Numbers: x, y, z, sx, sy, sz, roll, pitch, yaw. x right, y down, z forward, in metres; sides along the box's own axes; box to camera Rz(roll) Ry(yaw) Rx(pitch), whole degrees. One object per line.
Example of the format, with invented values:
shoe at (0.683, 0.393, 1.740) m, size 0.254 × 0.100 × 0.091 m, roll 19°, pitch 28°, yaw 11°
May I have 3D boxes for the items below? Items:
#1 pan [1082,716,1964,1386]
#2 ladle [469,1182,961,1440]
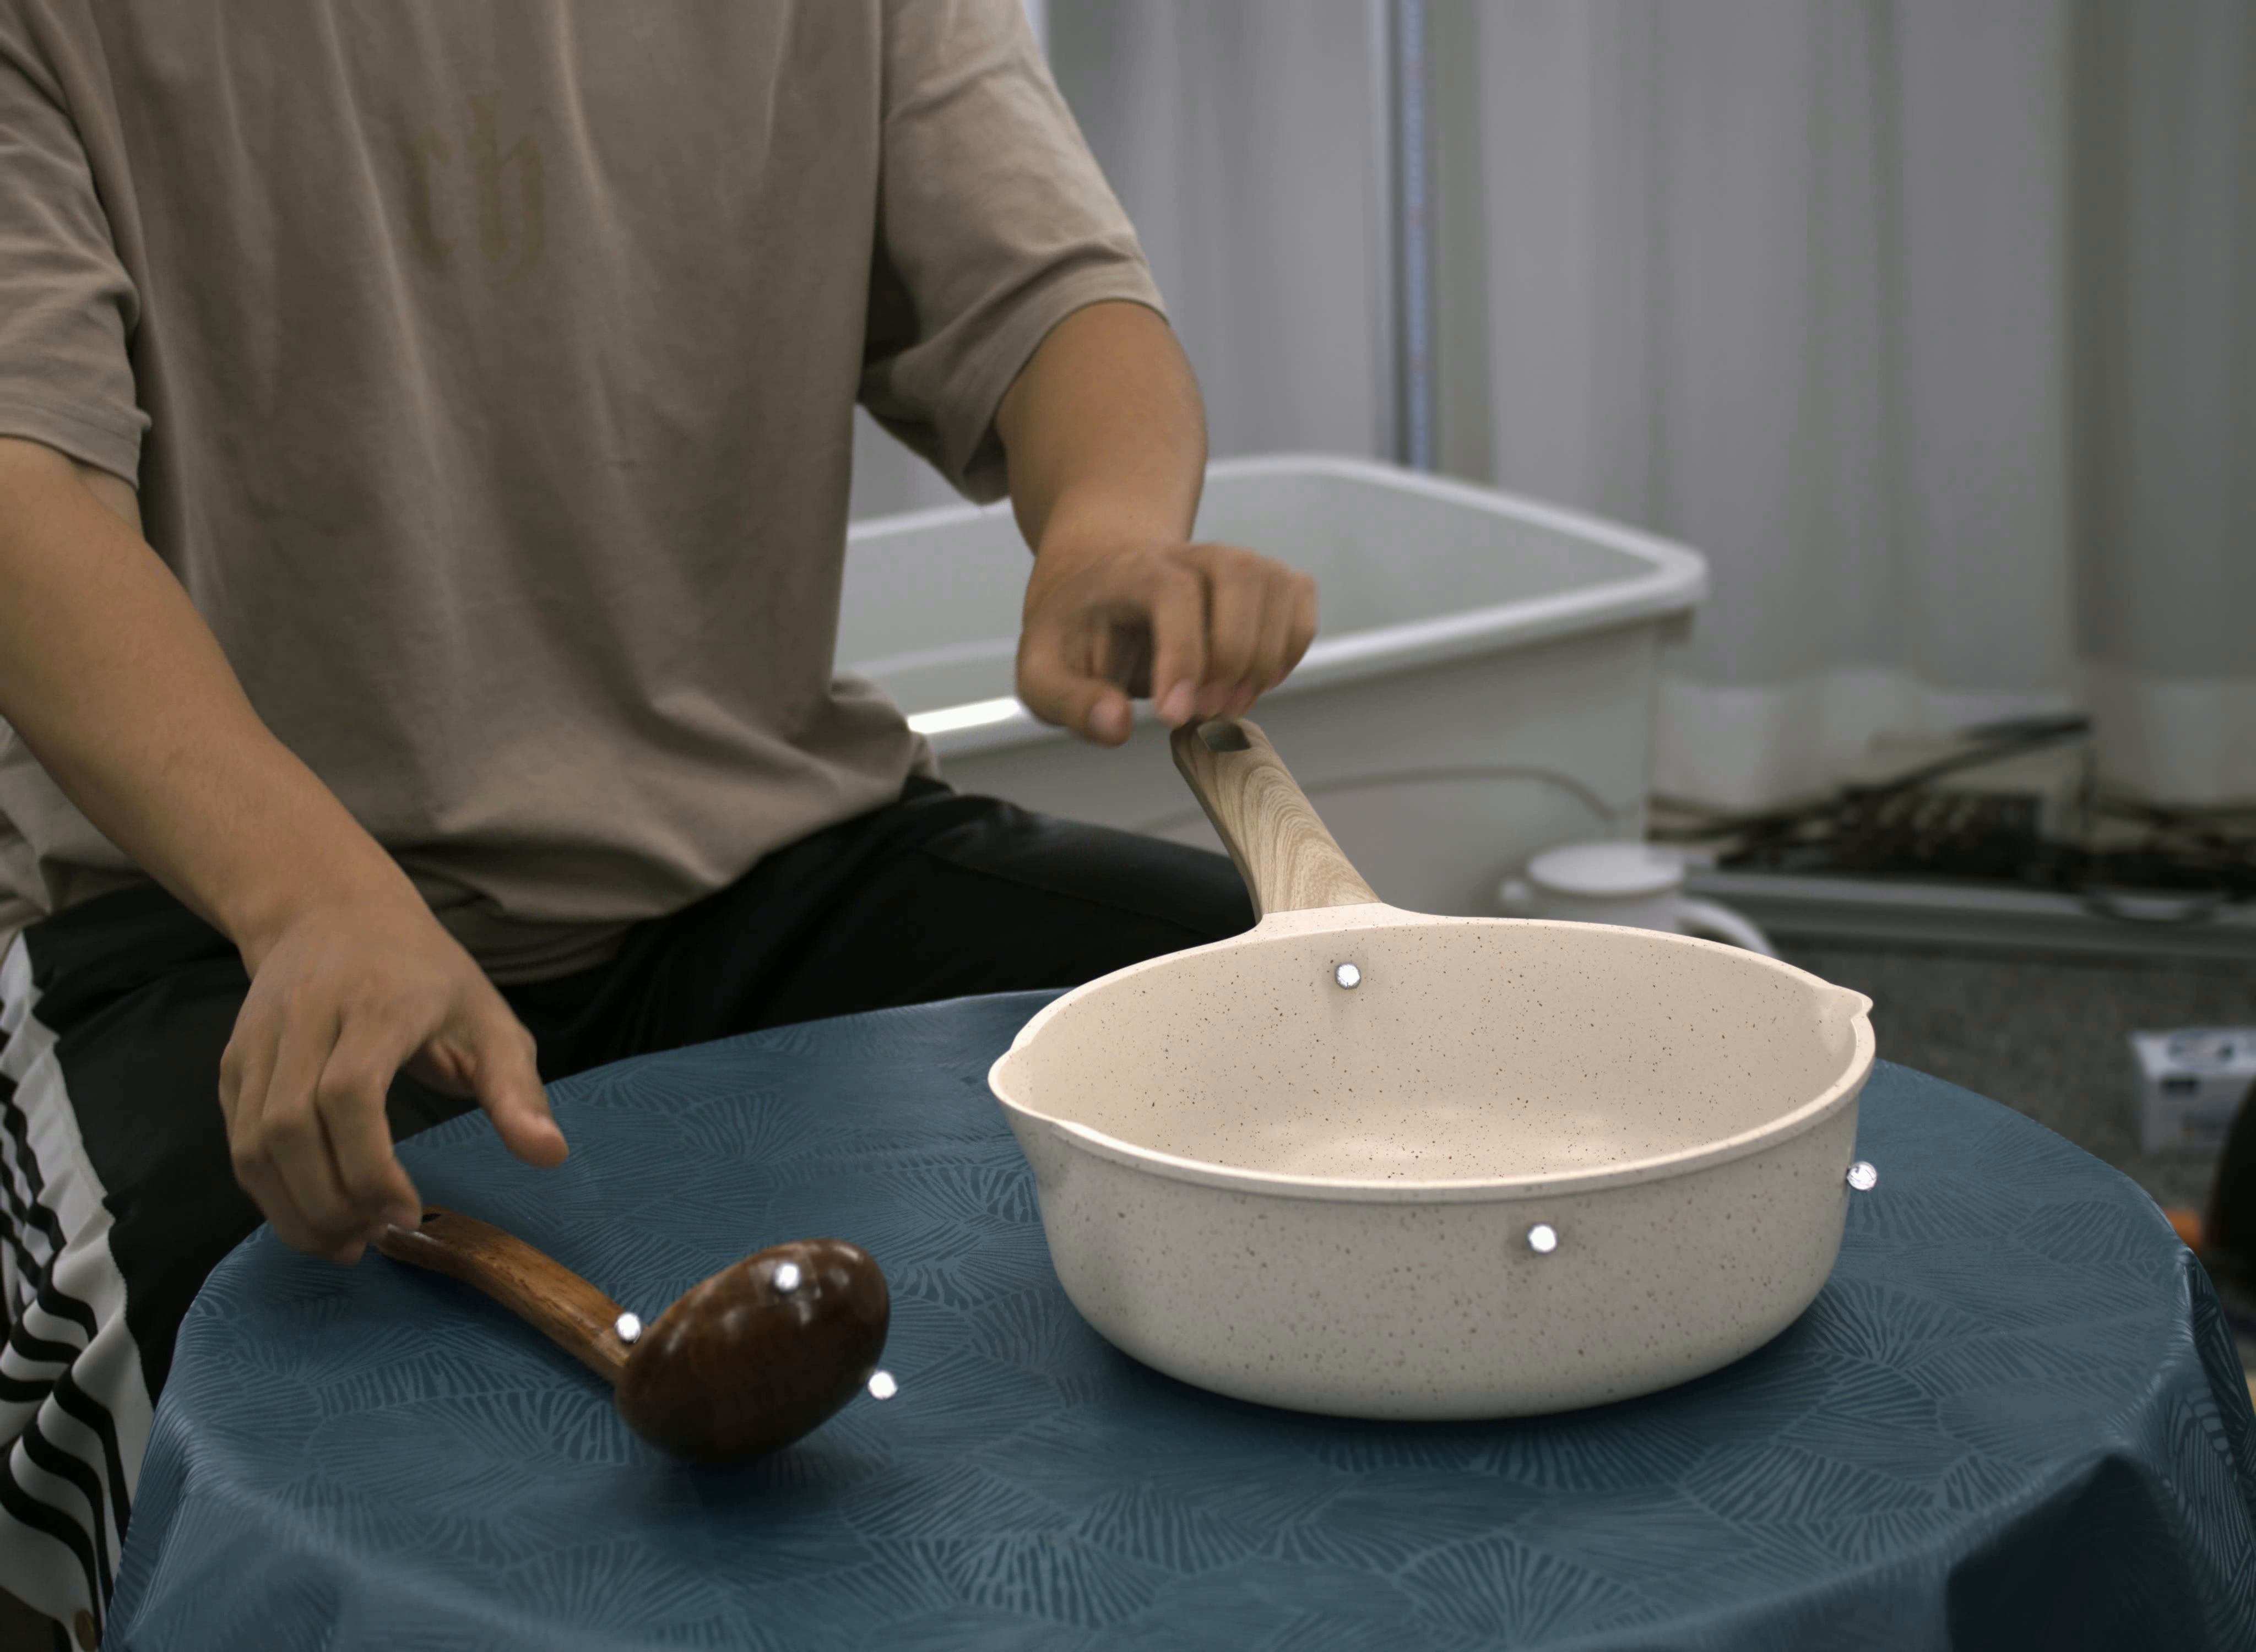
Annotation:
pan at (0.098, 0.063, 1.682) m, size 0.262 × 0.101 × 0.438 m, roll -7°, pitch 15°, yaw -10°
ladle at (-0.135, 0.115, 1.570) m, size 0.081 × 0.076 × 0.276 m, roll -12°, pitch 18°, yaw -27°
